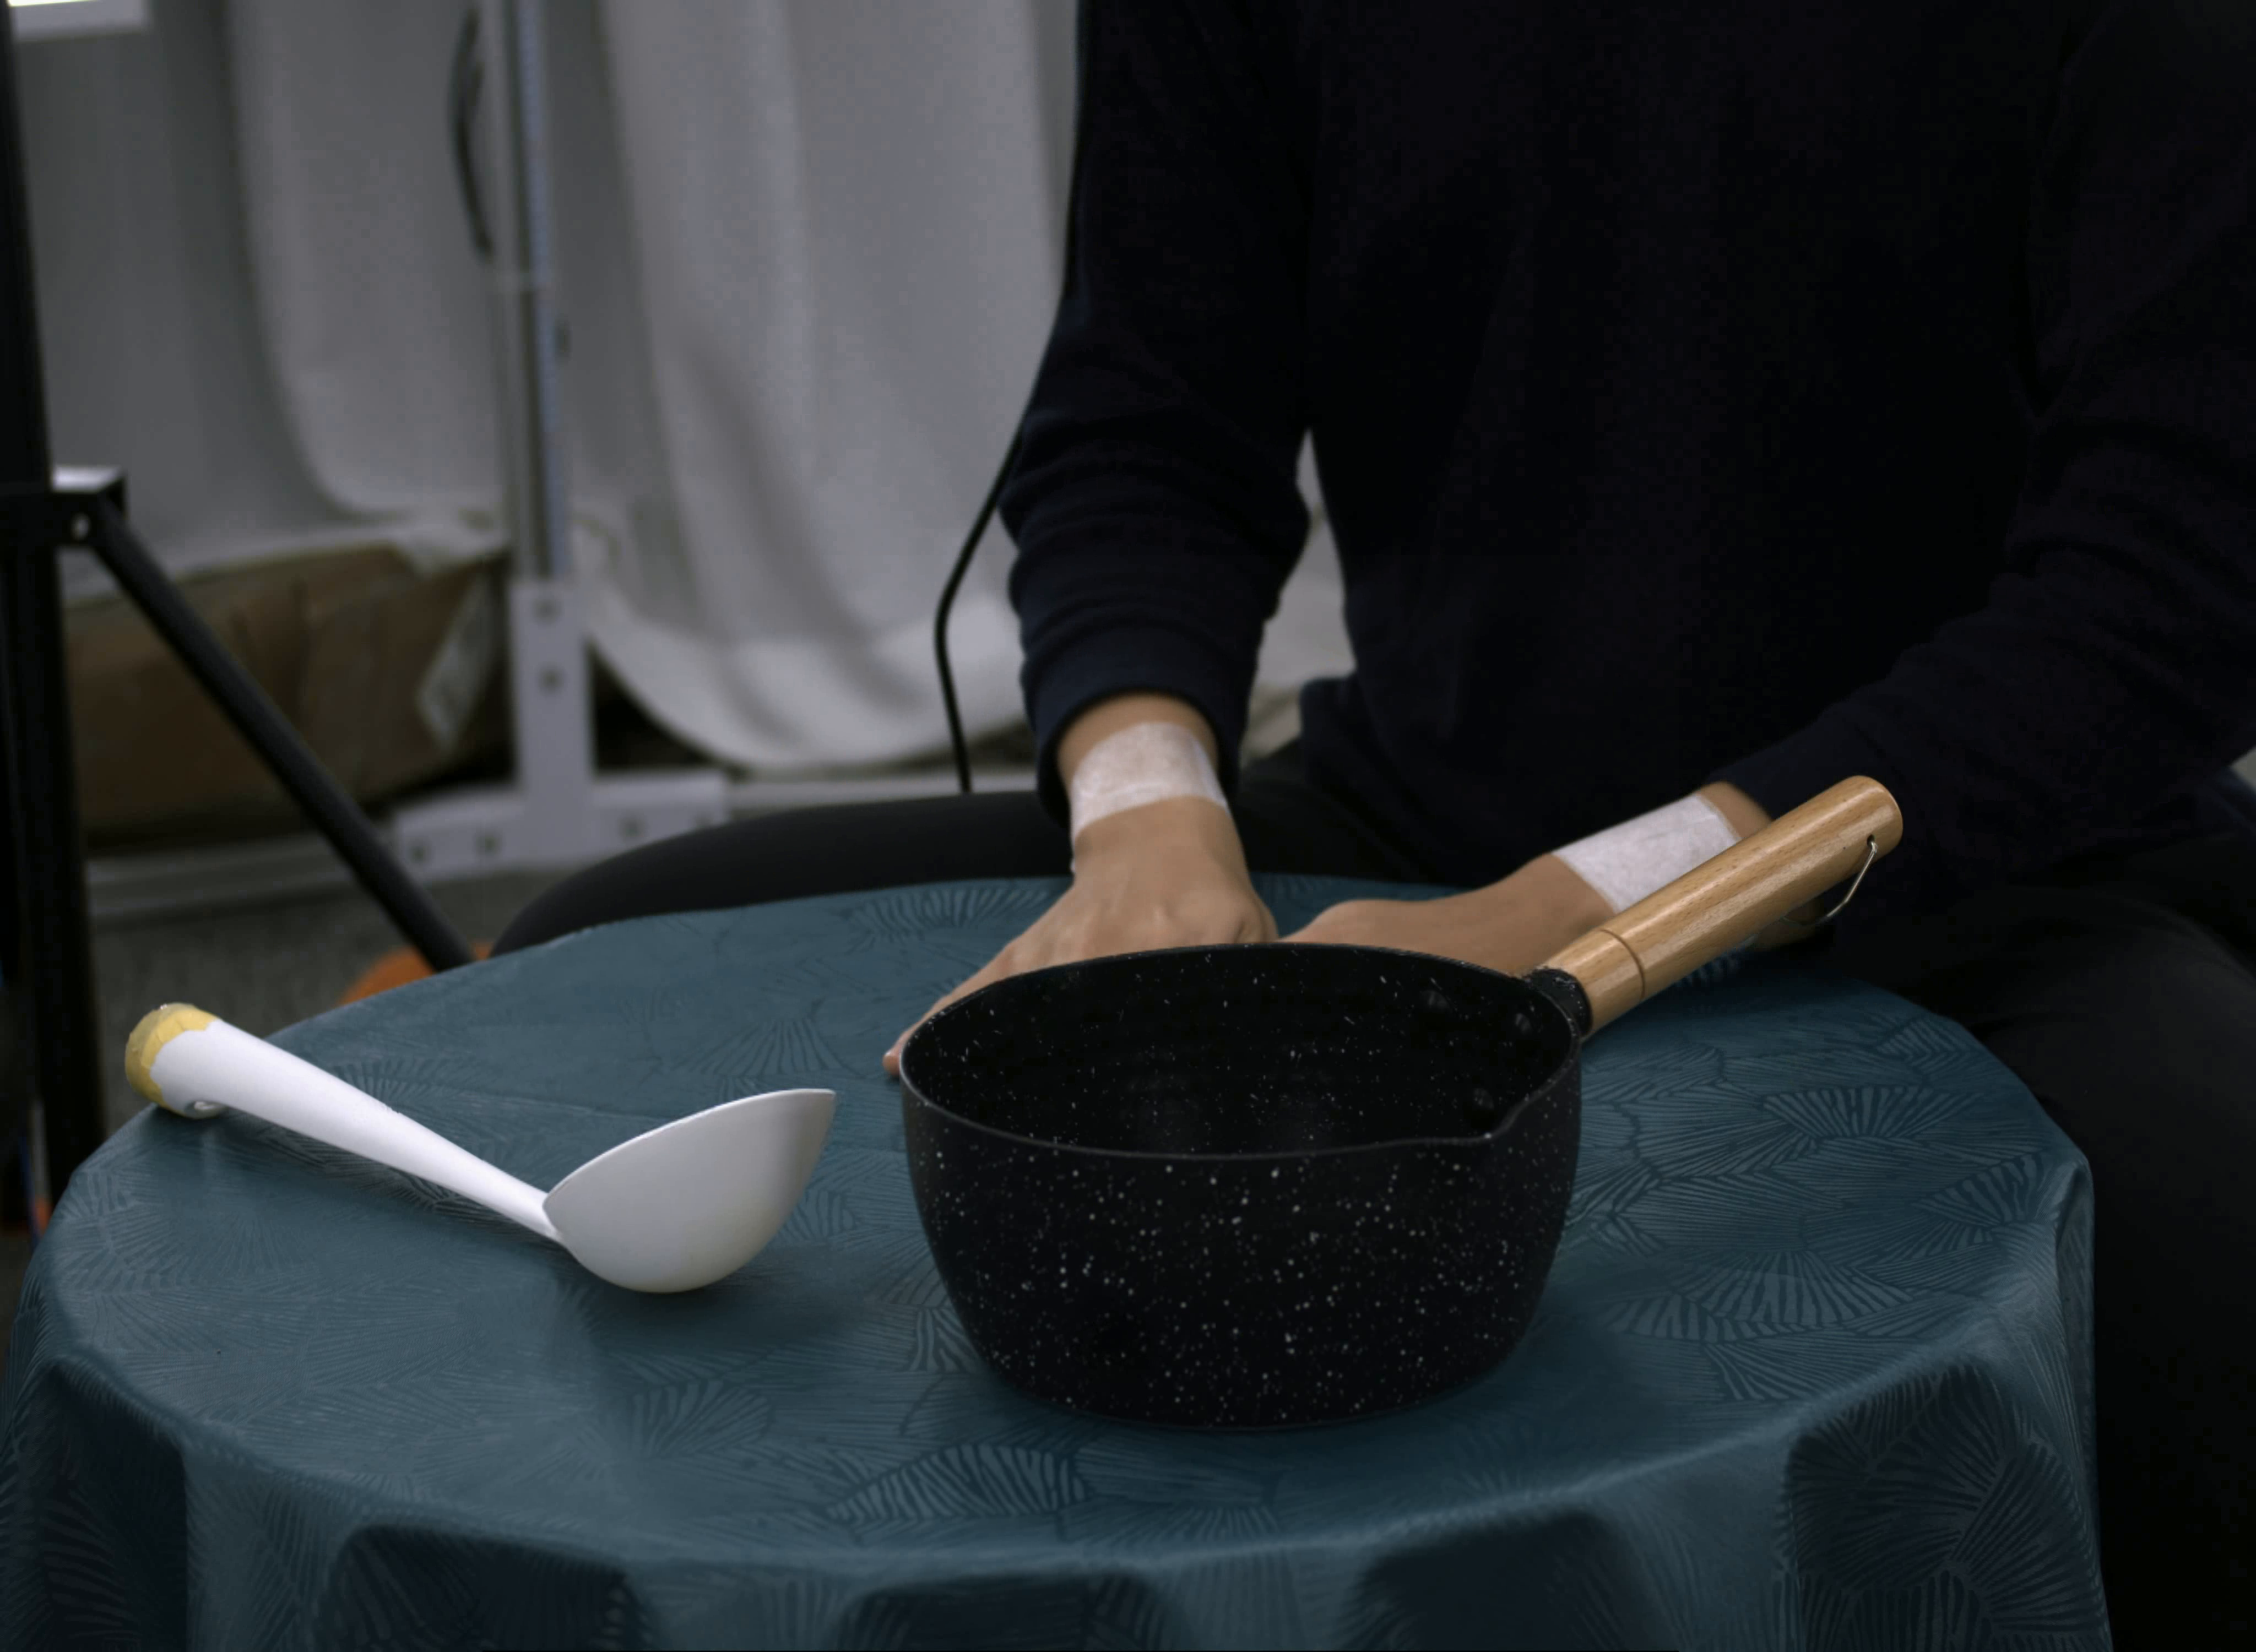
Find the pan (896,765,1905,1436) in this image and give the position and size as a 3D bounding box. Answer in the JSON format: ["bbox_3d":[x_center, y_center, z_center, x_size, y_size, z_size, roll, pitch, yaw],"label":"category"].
[{"bbox_3d":[0.092,0.071,1.476,0.335,0.108,0.212,-16,20,-36],"label":"pan"}]

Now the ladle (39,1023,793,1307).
[{"bbox_3d":[-0.218,0.084,1.564,0.300,0.070,0.088,14,7,43],"label":"ladle"}]
